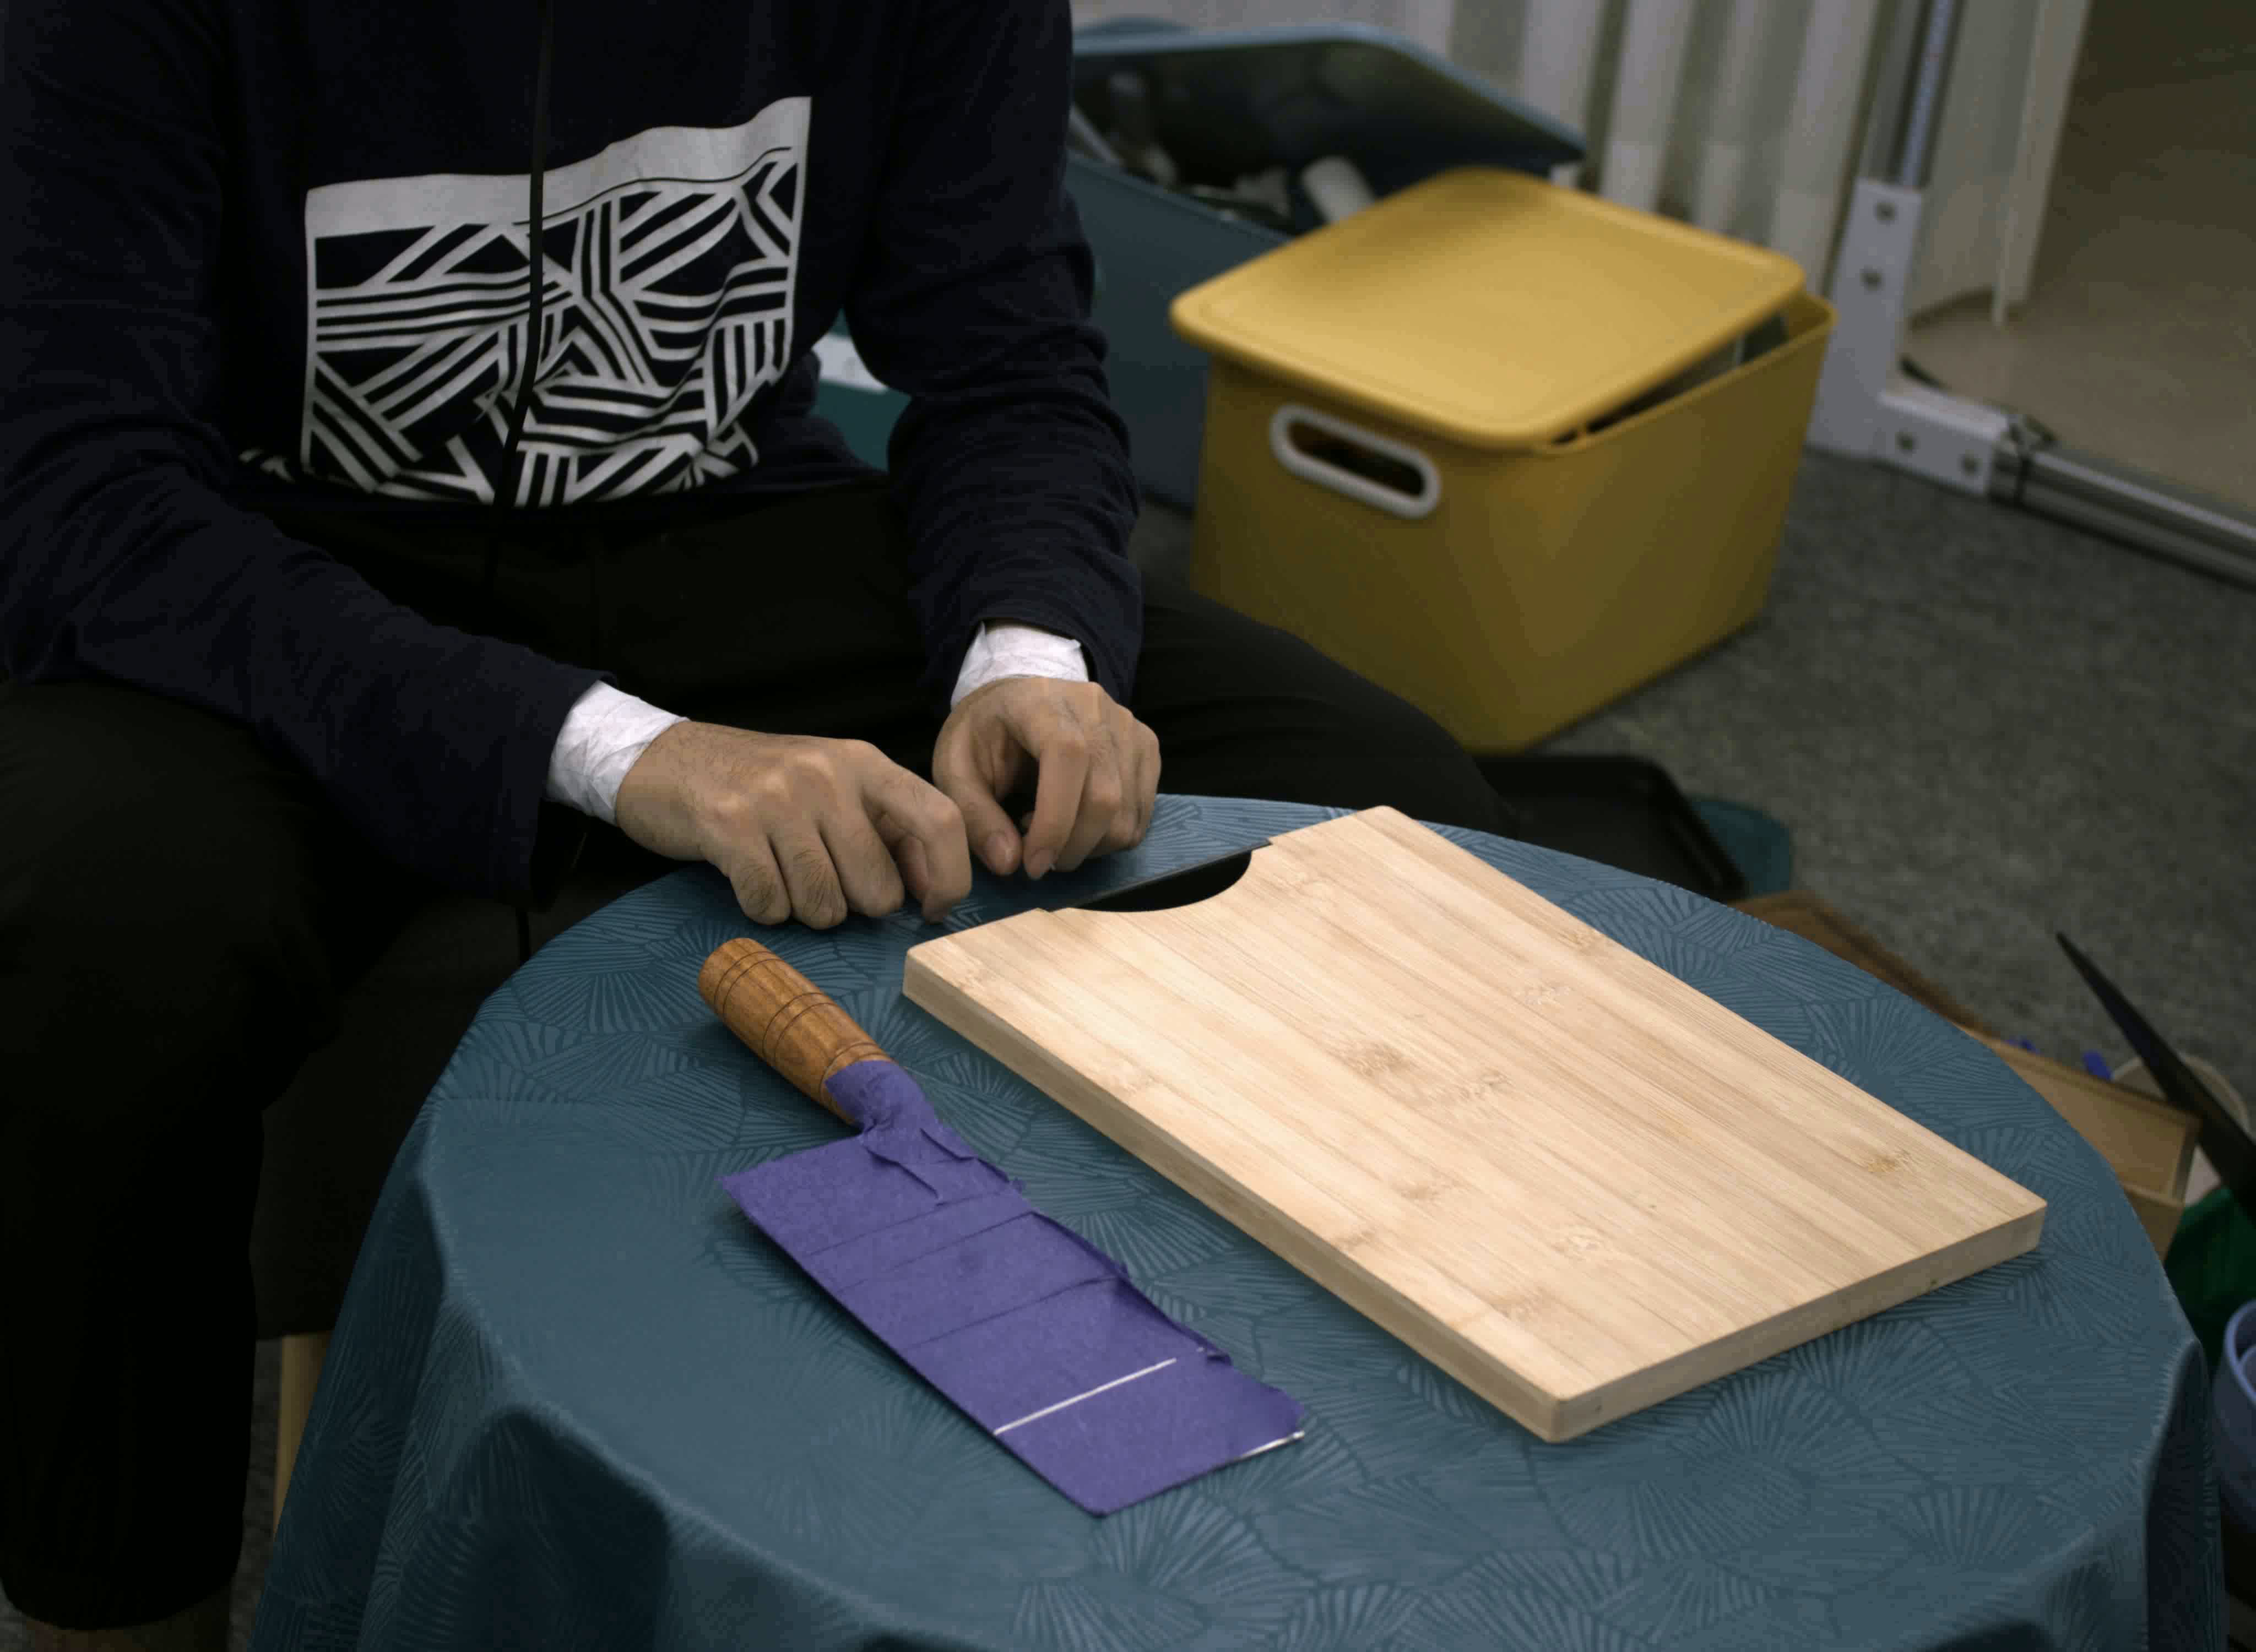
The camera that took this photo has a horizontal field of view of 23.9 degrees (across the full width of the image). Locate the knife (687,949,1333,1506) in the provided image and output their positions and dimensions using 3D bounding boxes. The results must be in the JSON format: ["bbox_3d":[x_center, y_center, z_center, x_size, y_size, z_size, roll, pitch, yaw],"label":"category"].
[{"bbox_3d":[-0.069,0.128,1.752,0.103,0.032,0.318,-15,34,-37],"label":"knife"}]

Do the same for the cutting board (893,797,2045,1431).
[{"bbox_3d":[0.114,0.093,1.874,0.249,0.023,0.351,-16,34,-38],"label":"cutting board"}]
